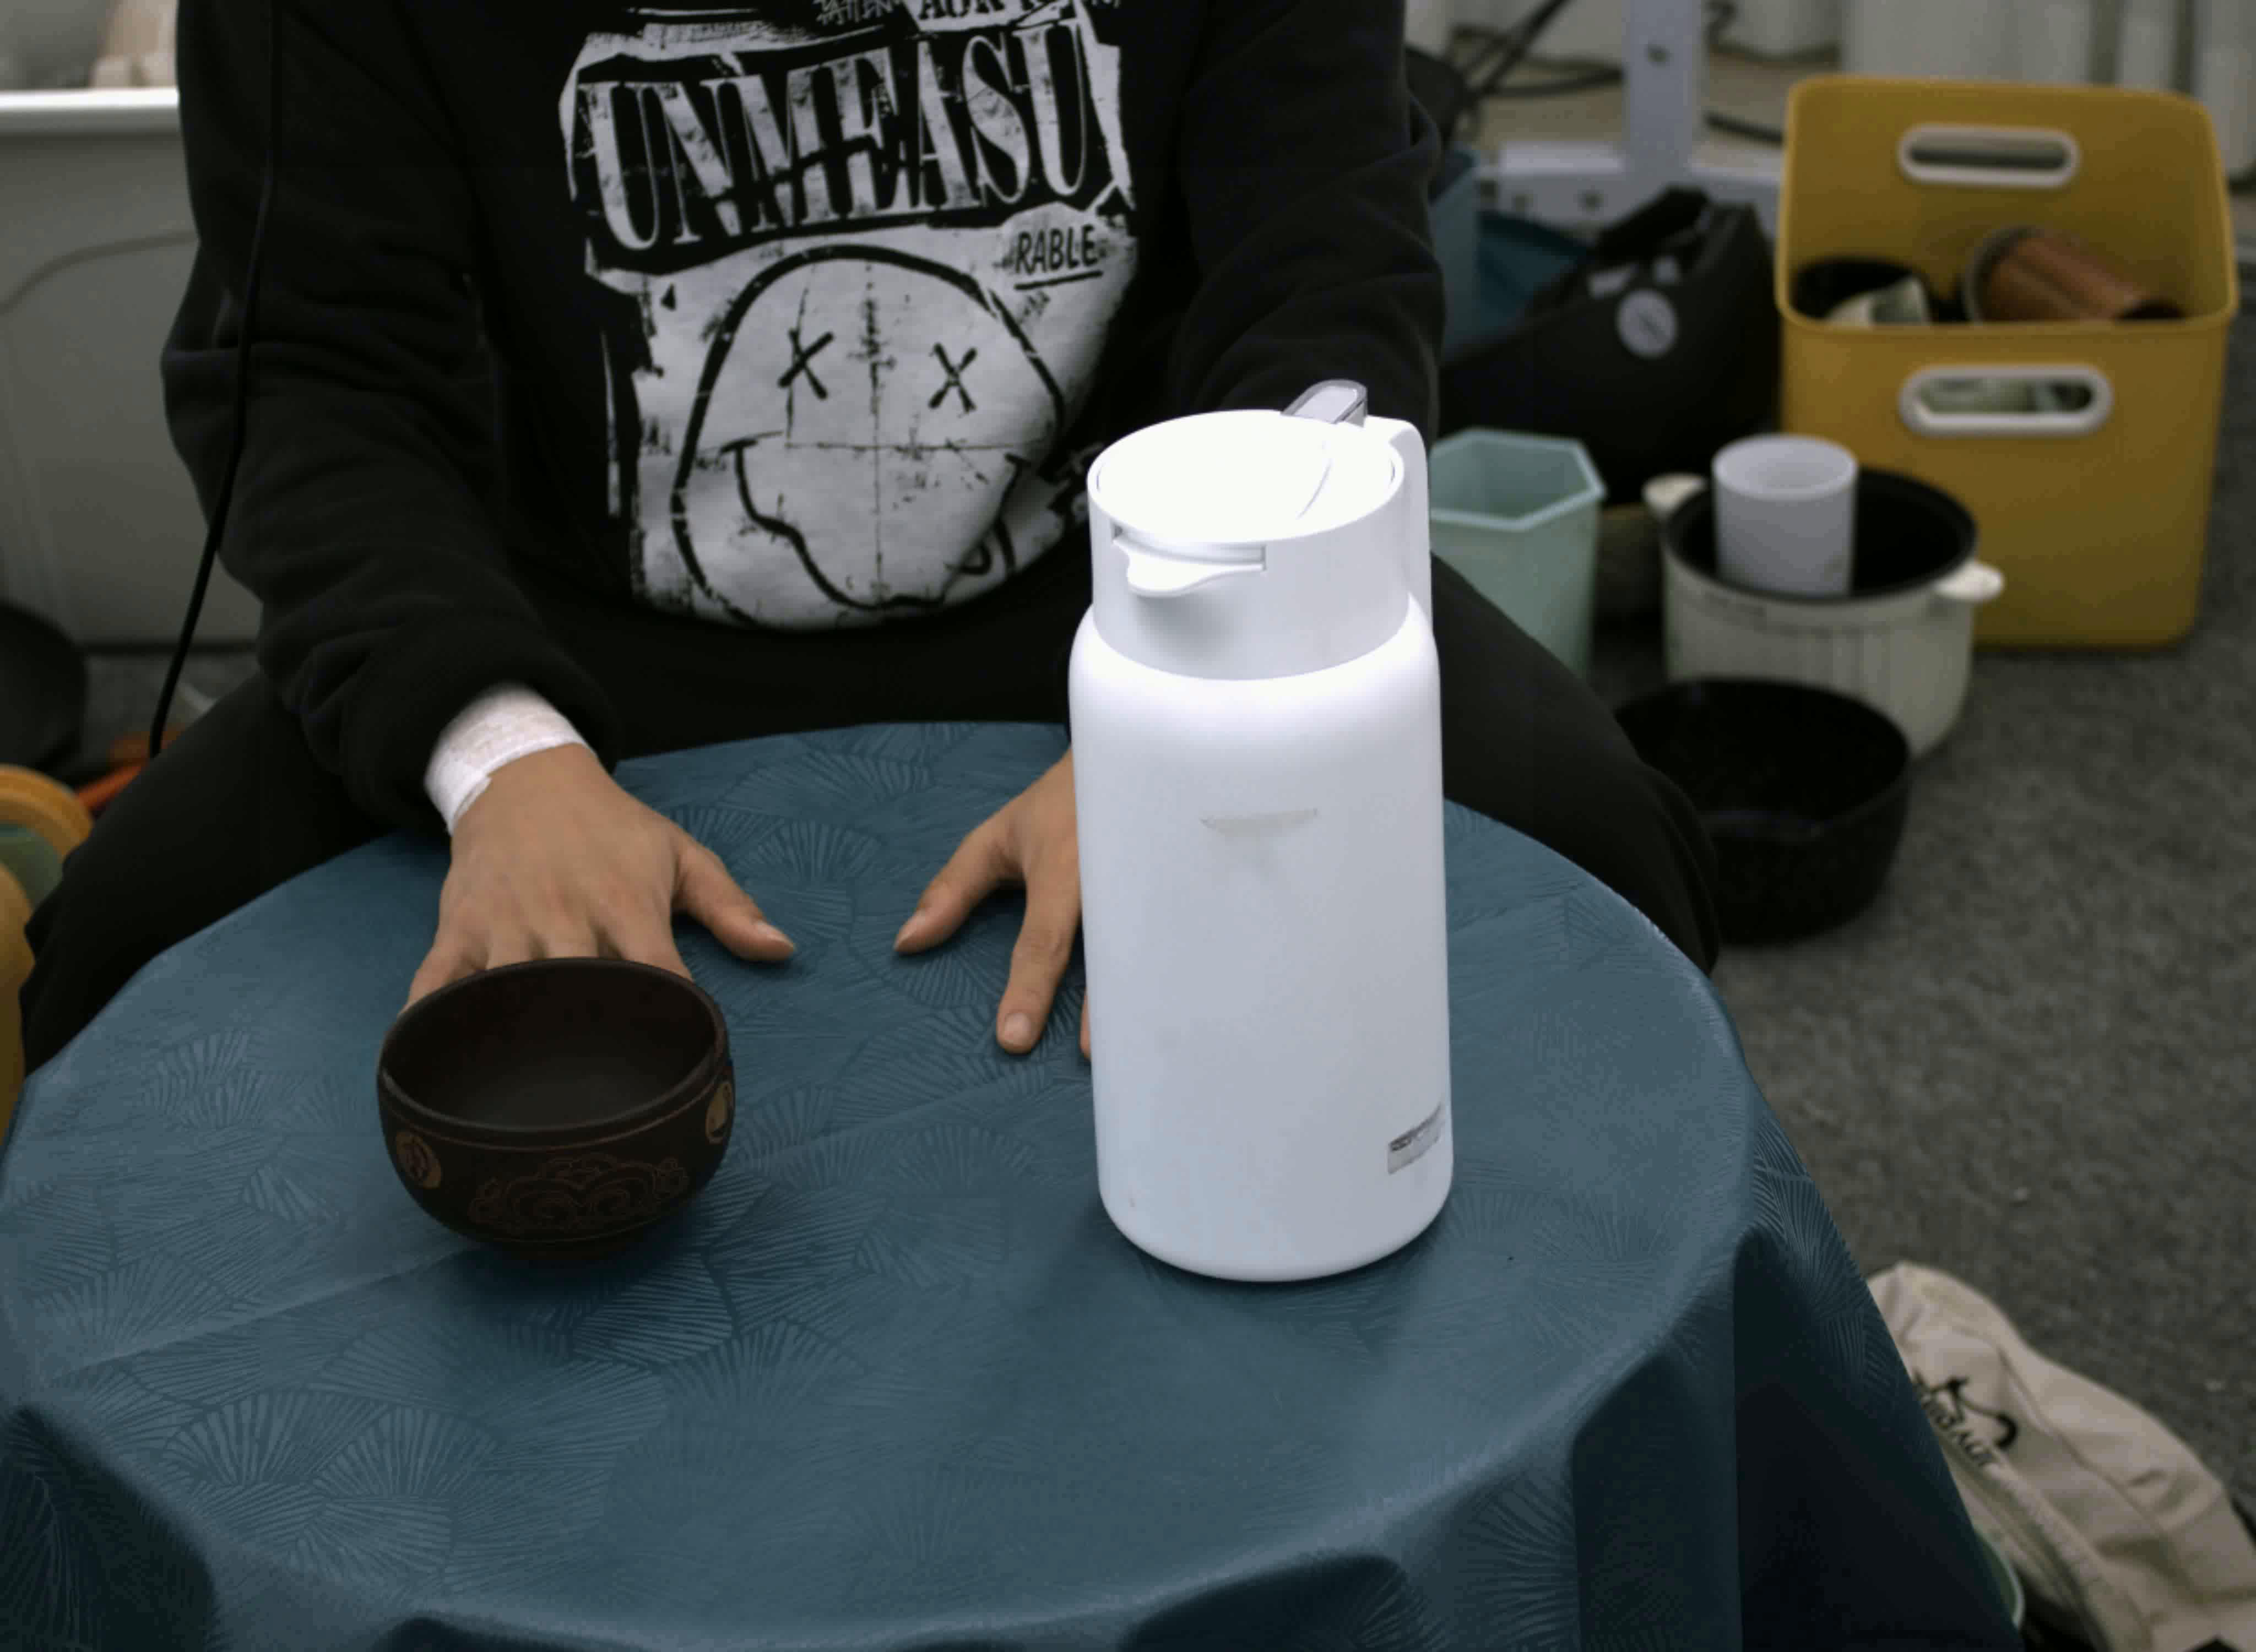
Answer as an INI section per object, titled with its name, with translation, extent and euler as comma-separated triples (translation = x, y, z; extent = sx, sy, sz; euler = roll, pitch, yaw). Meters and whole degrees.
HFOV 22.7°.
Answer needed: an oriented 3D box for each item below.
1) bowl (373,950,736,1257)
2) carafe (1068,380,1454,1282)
[bowl]
translation = -0.186, 0.098, 1.842
extent = 0.117, 0.069, 0.120
euler = -2, 26, 1
[carafe]
translation = 0.049, -0.002, 1.807
extent = 0.123, 0.266, 0.176
euler = 7, 28, 25
